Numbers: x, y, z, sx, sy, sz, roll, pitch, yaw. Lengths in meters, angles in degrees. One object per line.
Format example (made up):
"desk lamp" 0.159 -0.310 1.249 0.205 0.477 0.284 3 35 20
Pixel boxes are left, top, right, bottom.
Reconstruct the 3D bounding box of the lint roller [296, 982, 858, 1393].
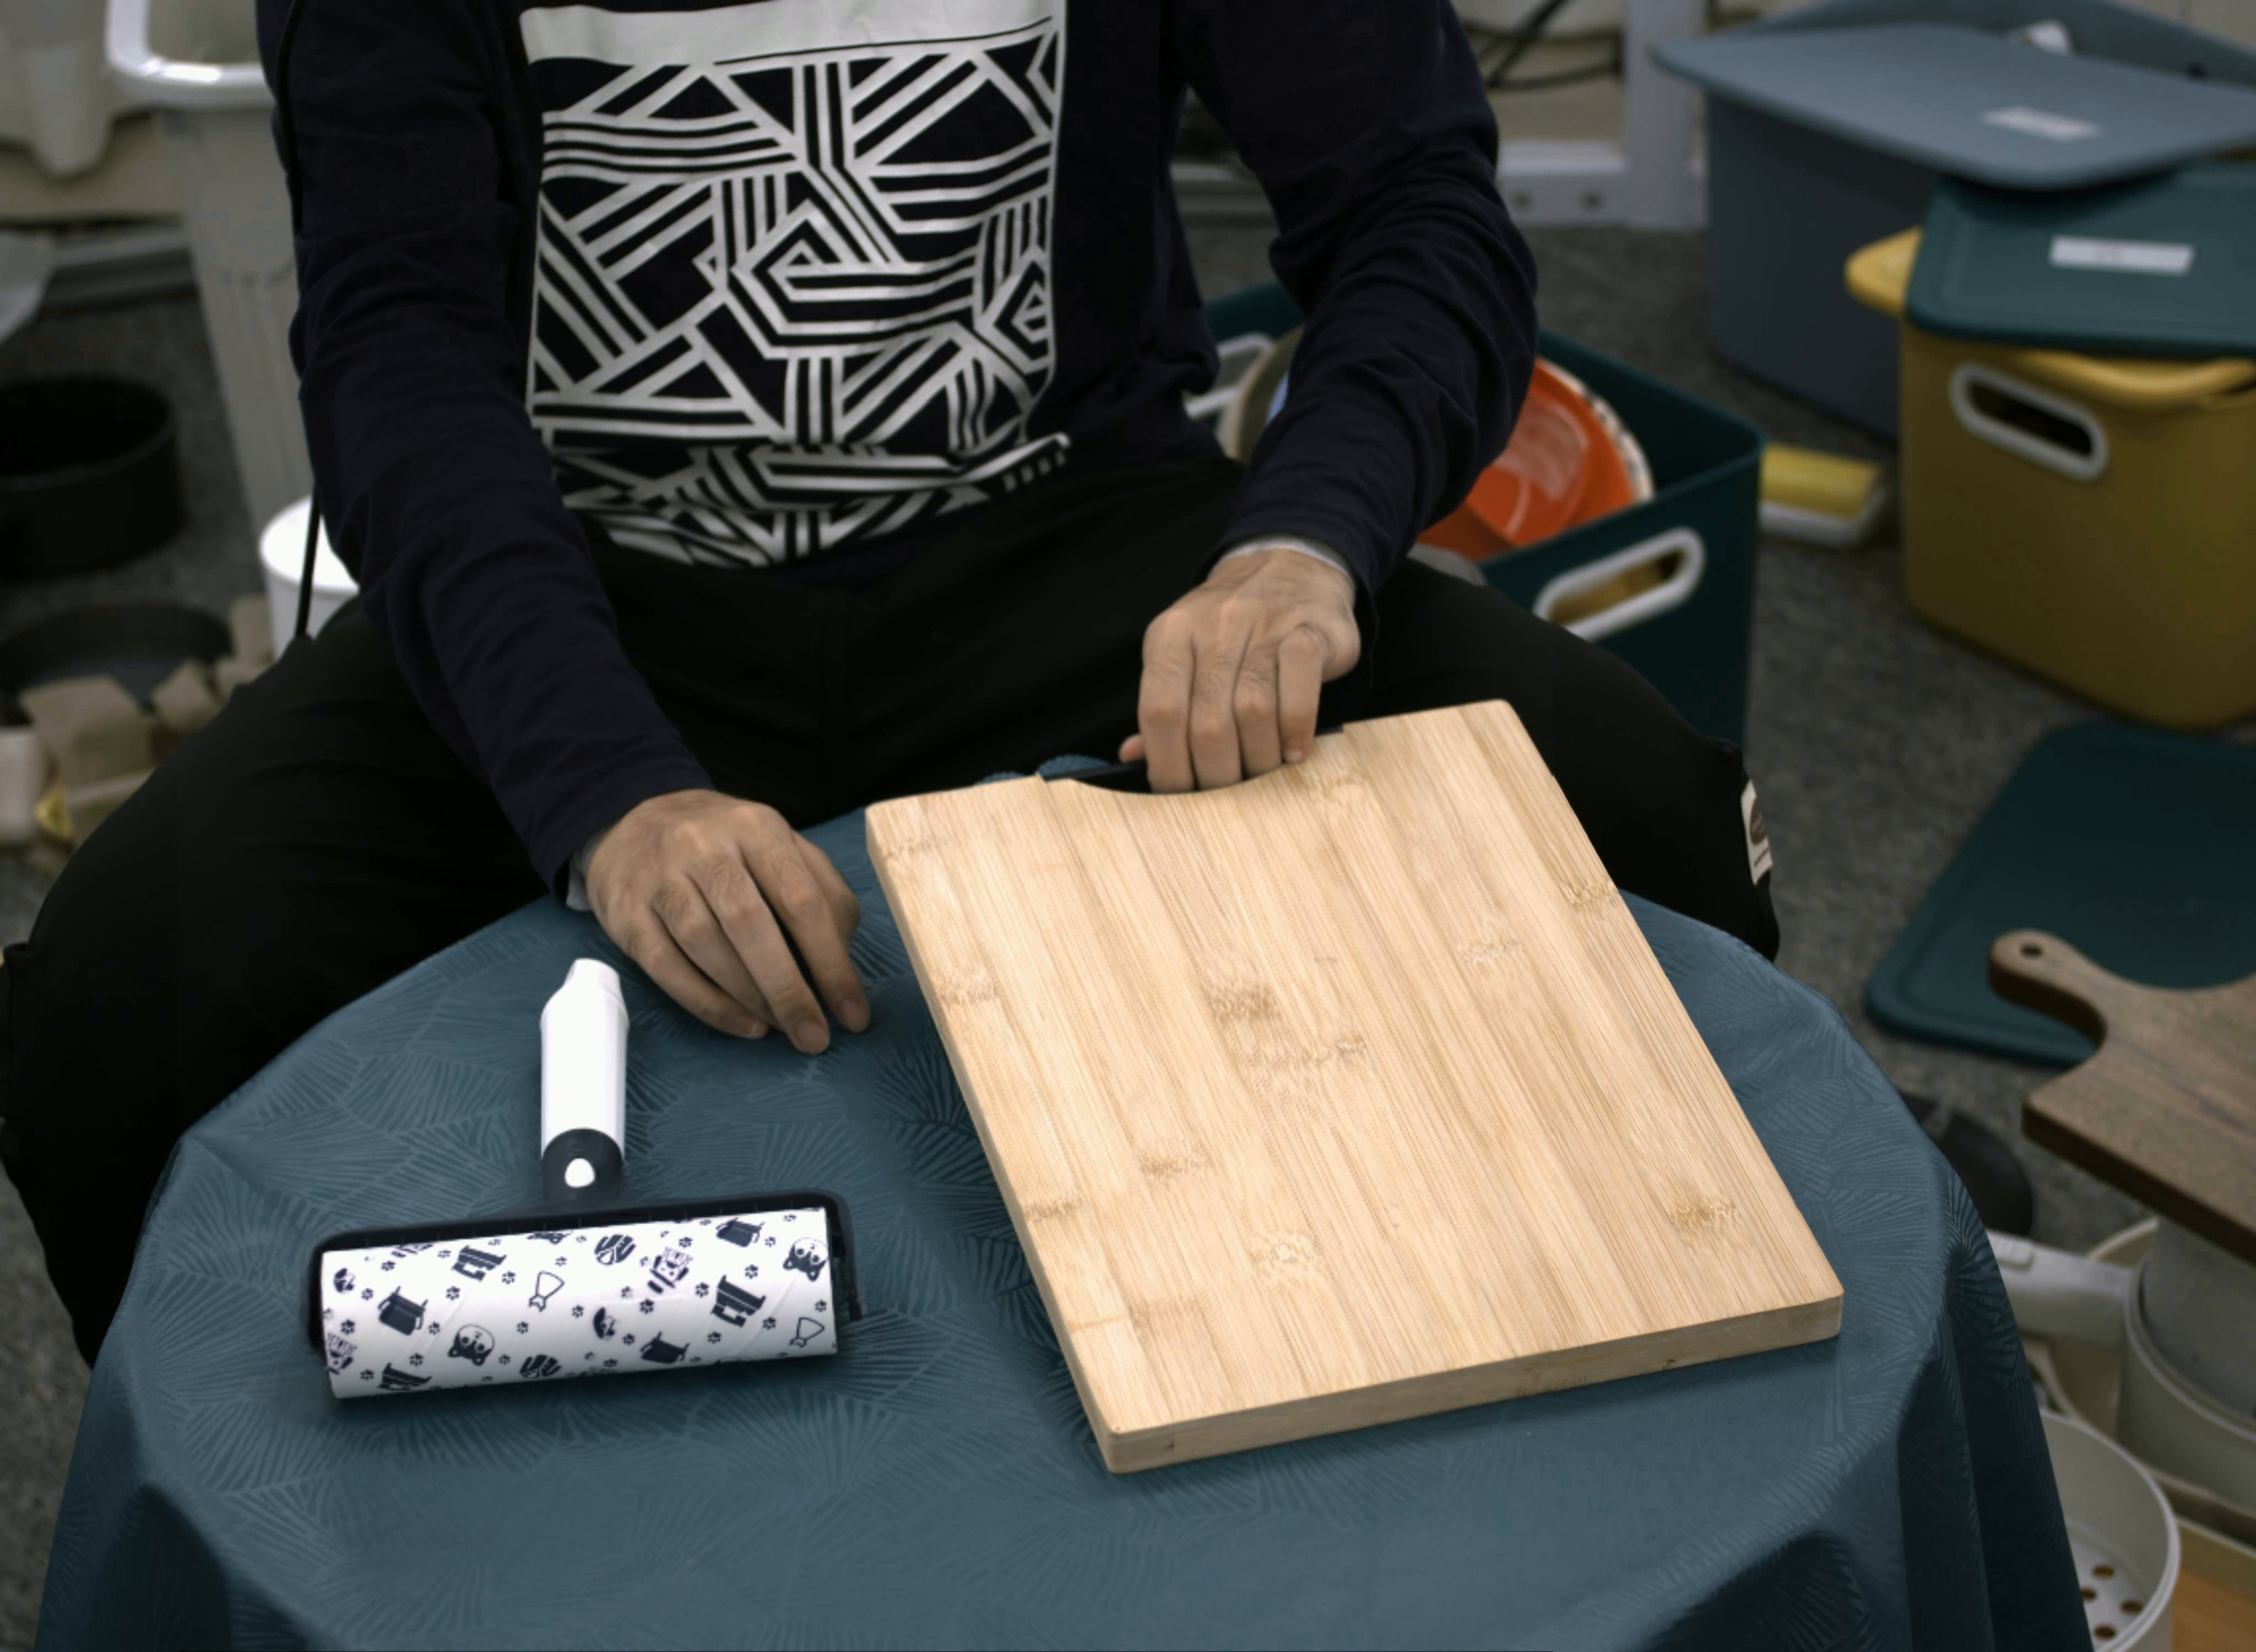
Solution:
"lint roller" -0.183 0.107 1.863 0.176 0.050 0.250 -6 25 -3

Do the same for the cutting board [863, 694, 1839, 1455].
"cutting board" 0.064 0.075 1.874 0.251 0.023 0.353 -9 36 -13
